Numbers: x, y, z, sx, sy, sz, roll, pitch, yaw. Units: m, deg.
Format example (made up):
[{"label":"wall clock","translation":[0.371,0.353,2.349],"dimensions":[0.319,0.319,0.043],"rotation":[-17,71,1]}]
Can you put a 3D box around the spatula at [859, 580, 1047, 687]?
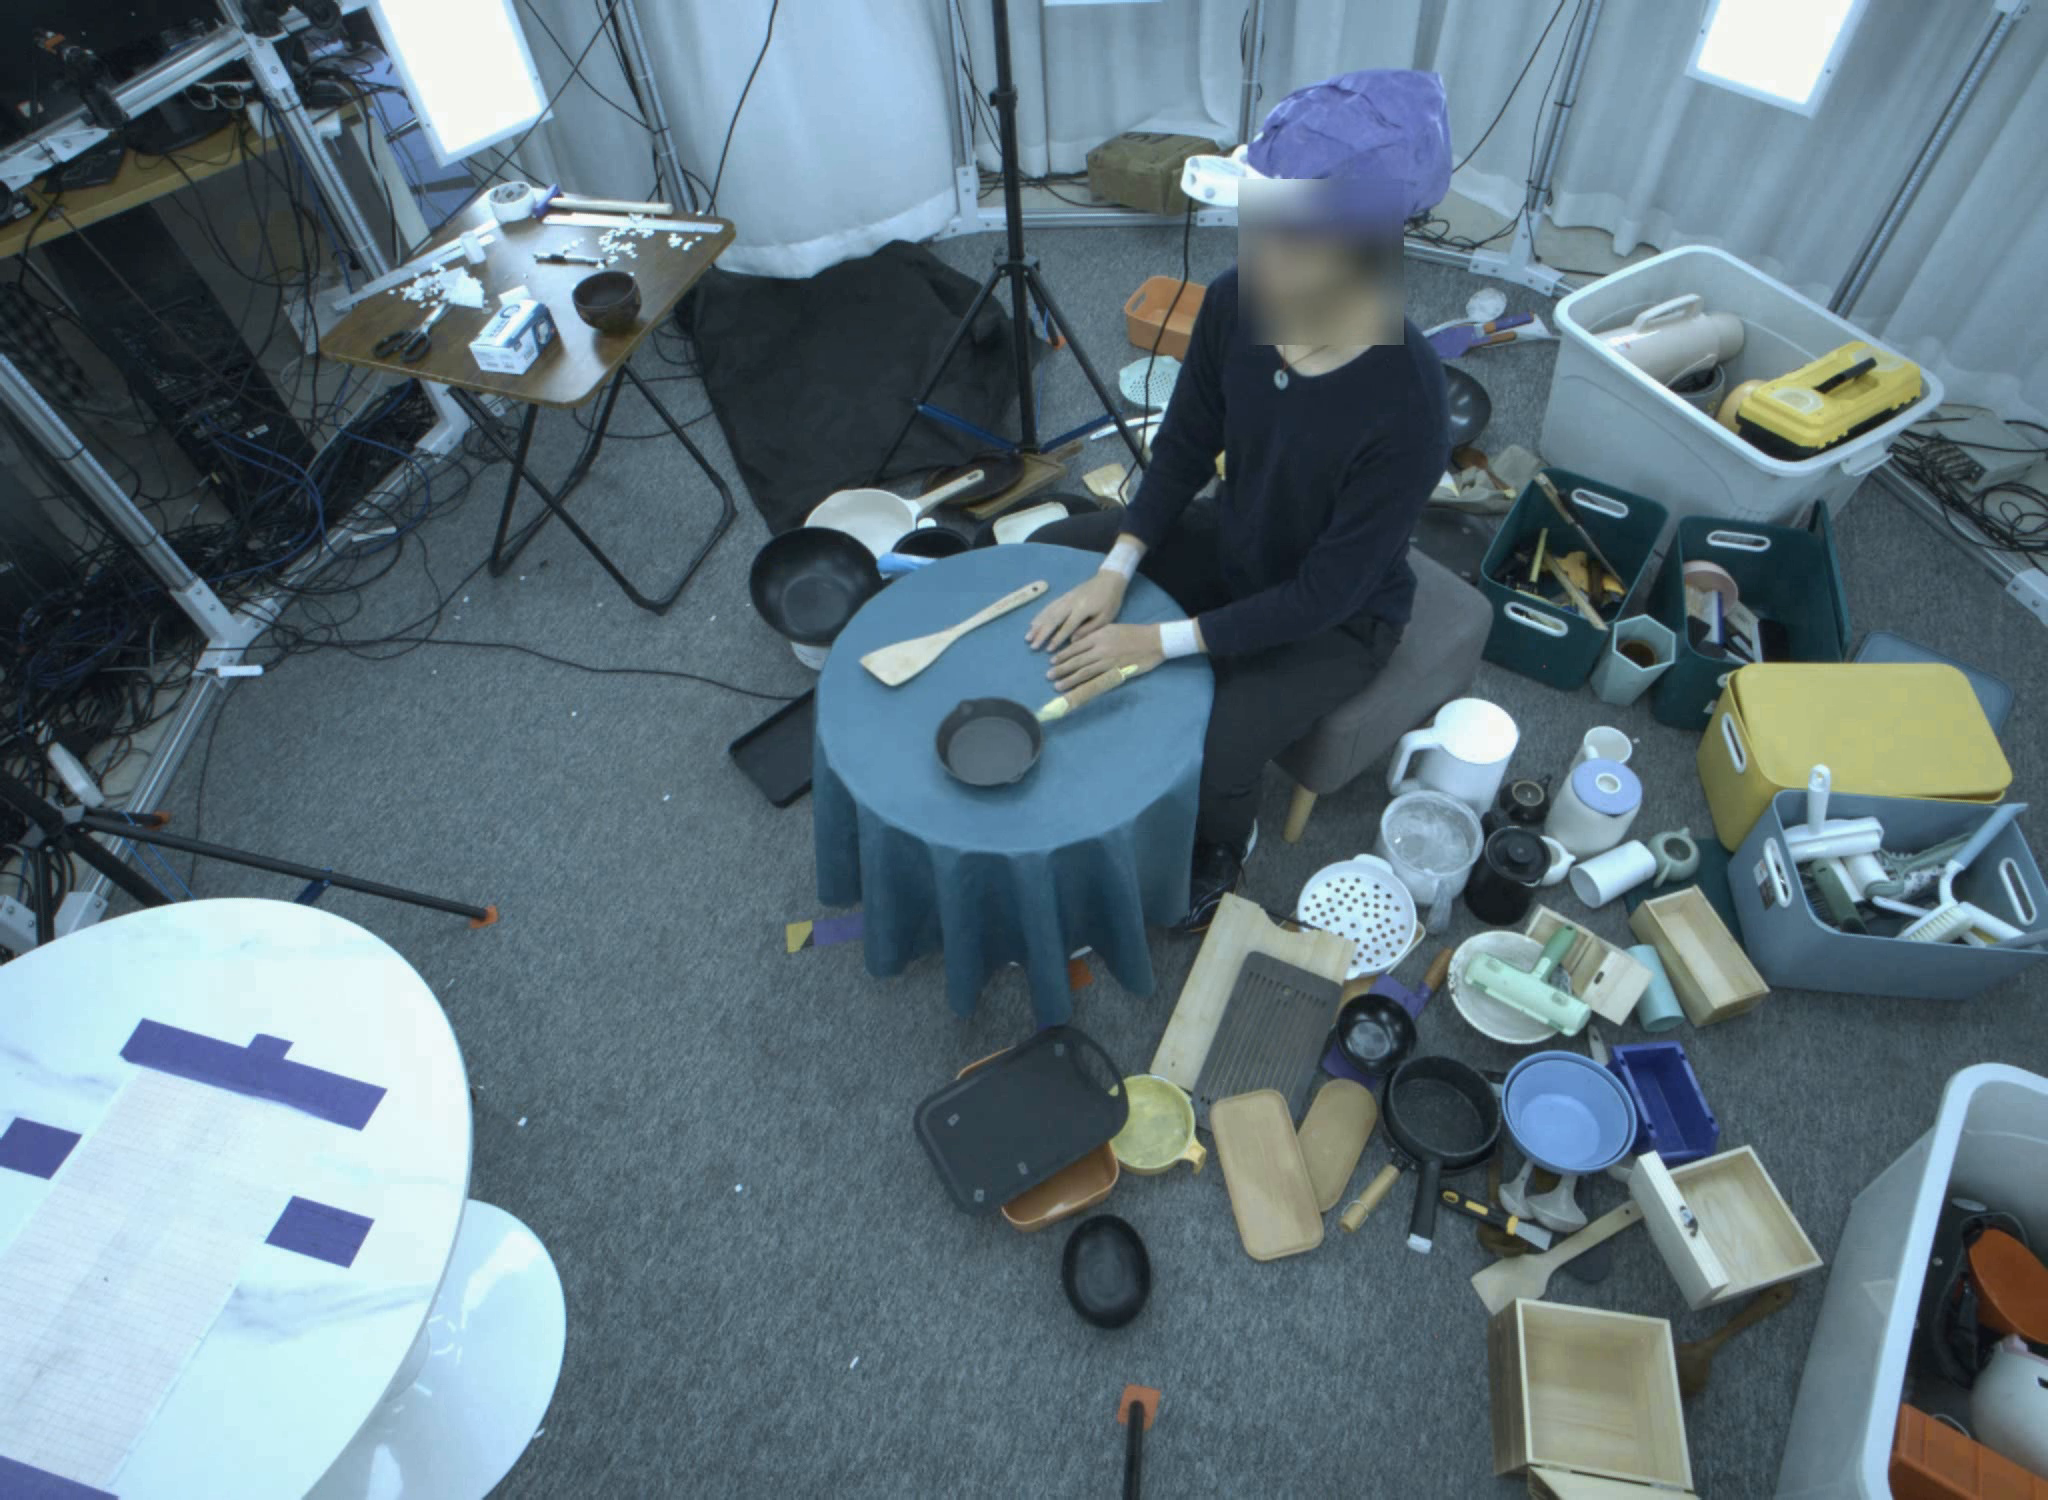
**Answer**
[{"label":"spatula","translation":[-0.100,-0.189,1.915],"dimensions":[0.330,0.017,0.078],"rotation":[-31,60,-18]}]

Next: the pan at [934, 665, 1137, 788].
[{"label":"pan","translation":[0.025,-0.045,1.787],"dimensions":[0.326,0.050,0.166],"rotation":[-25,57,-13]}]
